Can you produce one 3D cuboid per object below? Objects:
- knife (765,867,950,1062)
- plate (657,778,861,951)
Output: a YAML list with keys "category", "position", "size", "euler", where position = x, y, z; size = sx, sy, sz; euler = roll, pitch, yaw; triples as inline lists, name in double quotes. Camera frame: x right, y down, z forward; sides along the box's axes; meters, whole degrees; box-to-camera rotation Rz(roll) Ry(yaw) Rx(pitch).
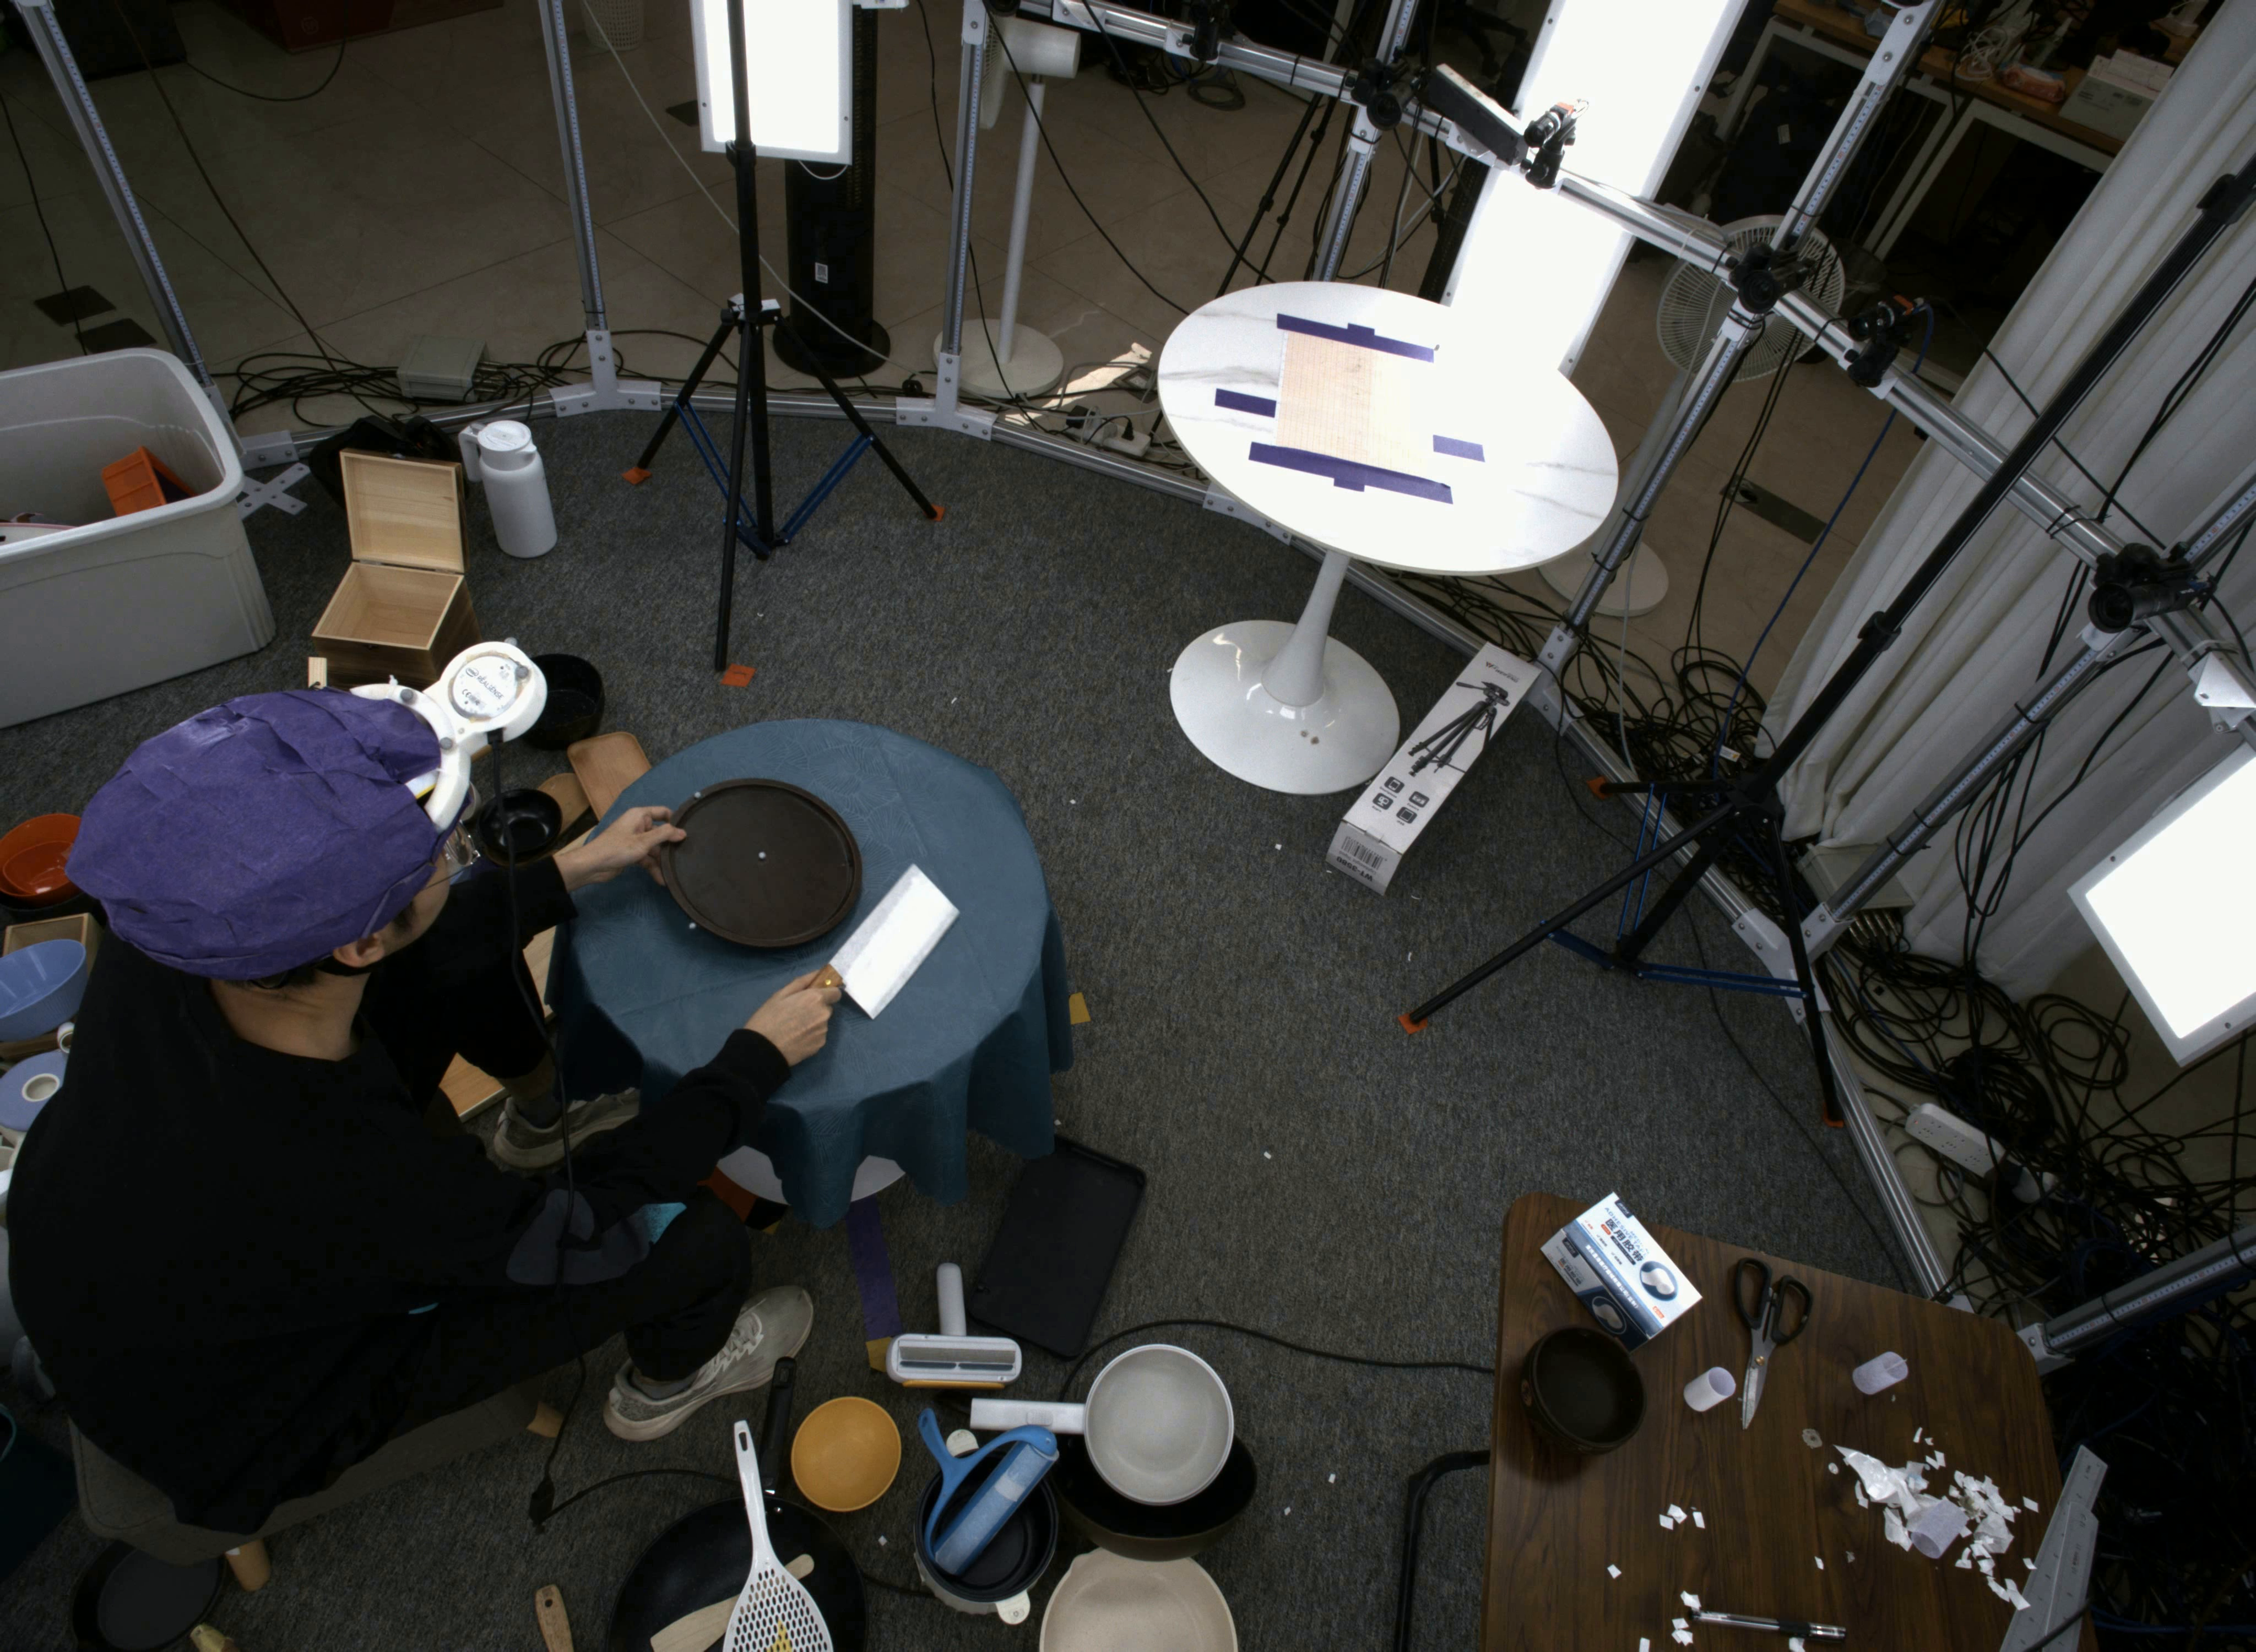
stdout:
- category: "knife"
  position: [-0.316, 0.178, 1.574]
  size: [0.095, 0.020, 0.304]
  euler: [50, 52, -18]
- category: "plate"
  position: [-0.462, 0.045, 1.625]
  size: [0.257, 0.029, 0.250]
  euler: [15, 51, -17]
